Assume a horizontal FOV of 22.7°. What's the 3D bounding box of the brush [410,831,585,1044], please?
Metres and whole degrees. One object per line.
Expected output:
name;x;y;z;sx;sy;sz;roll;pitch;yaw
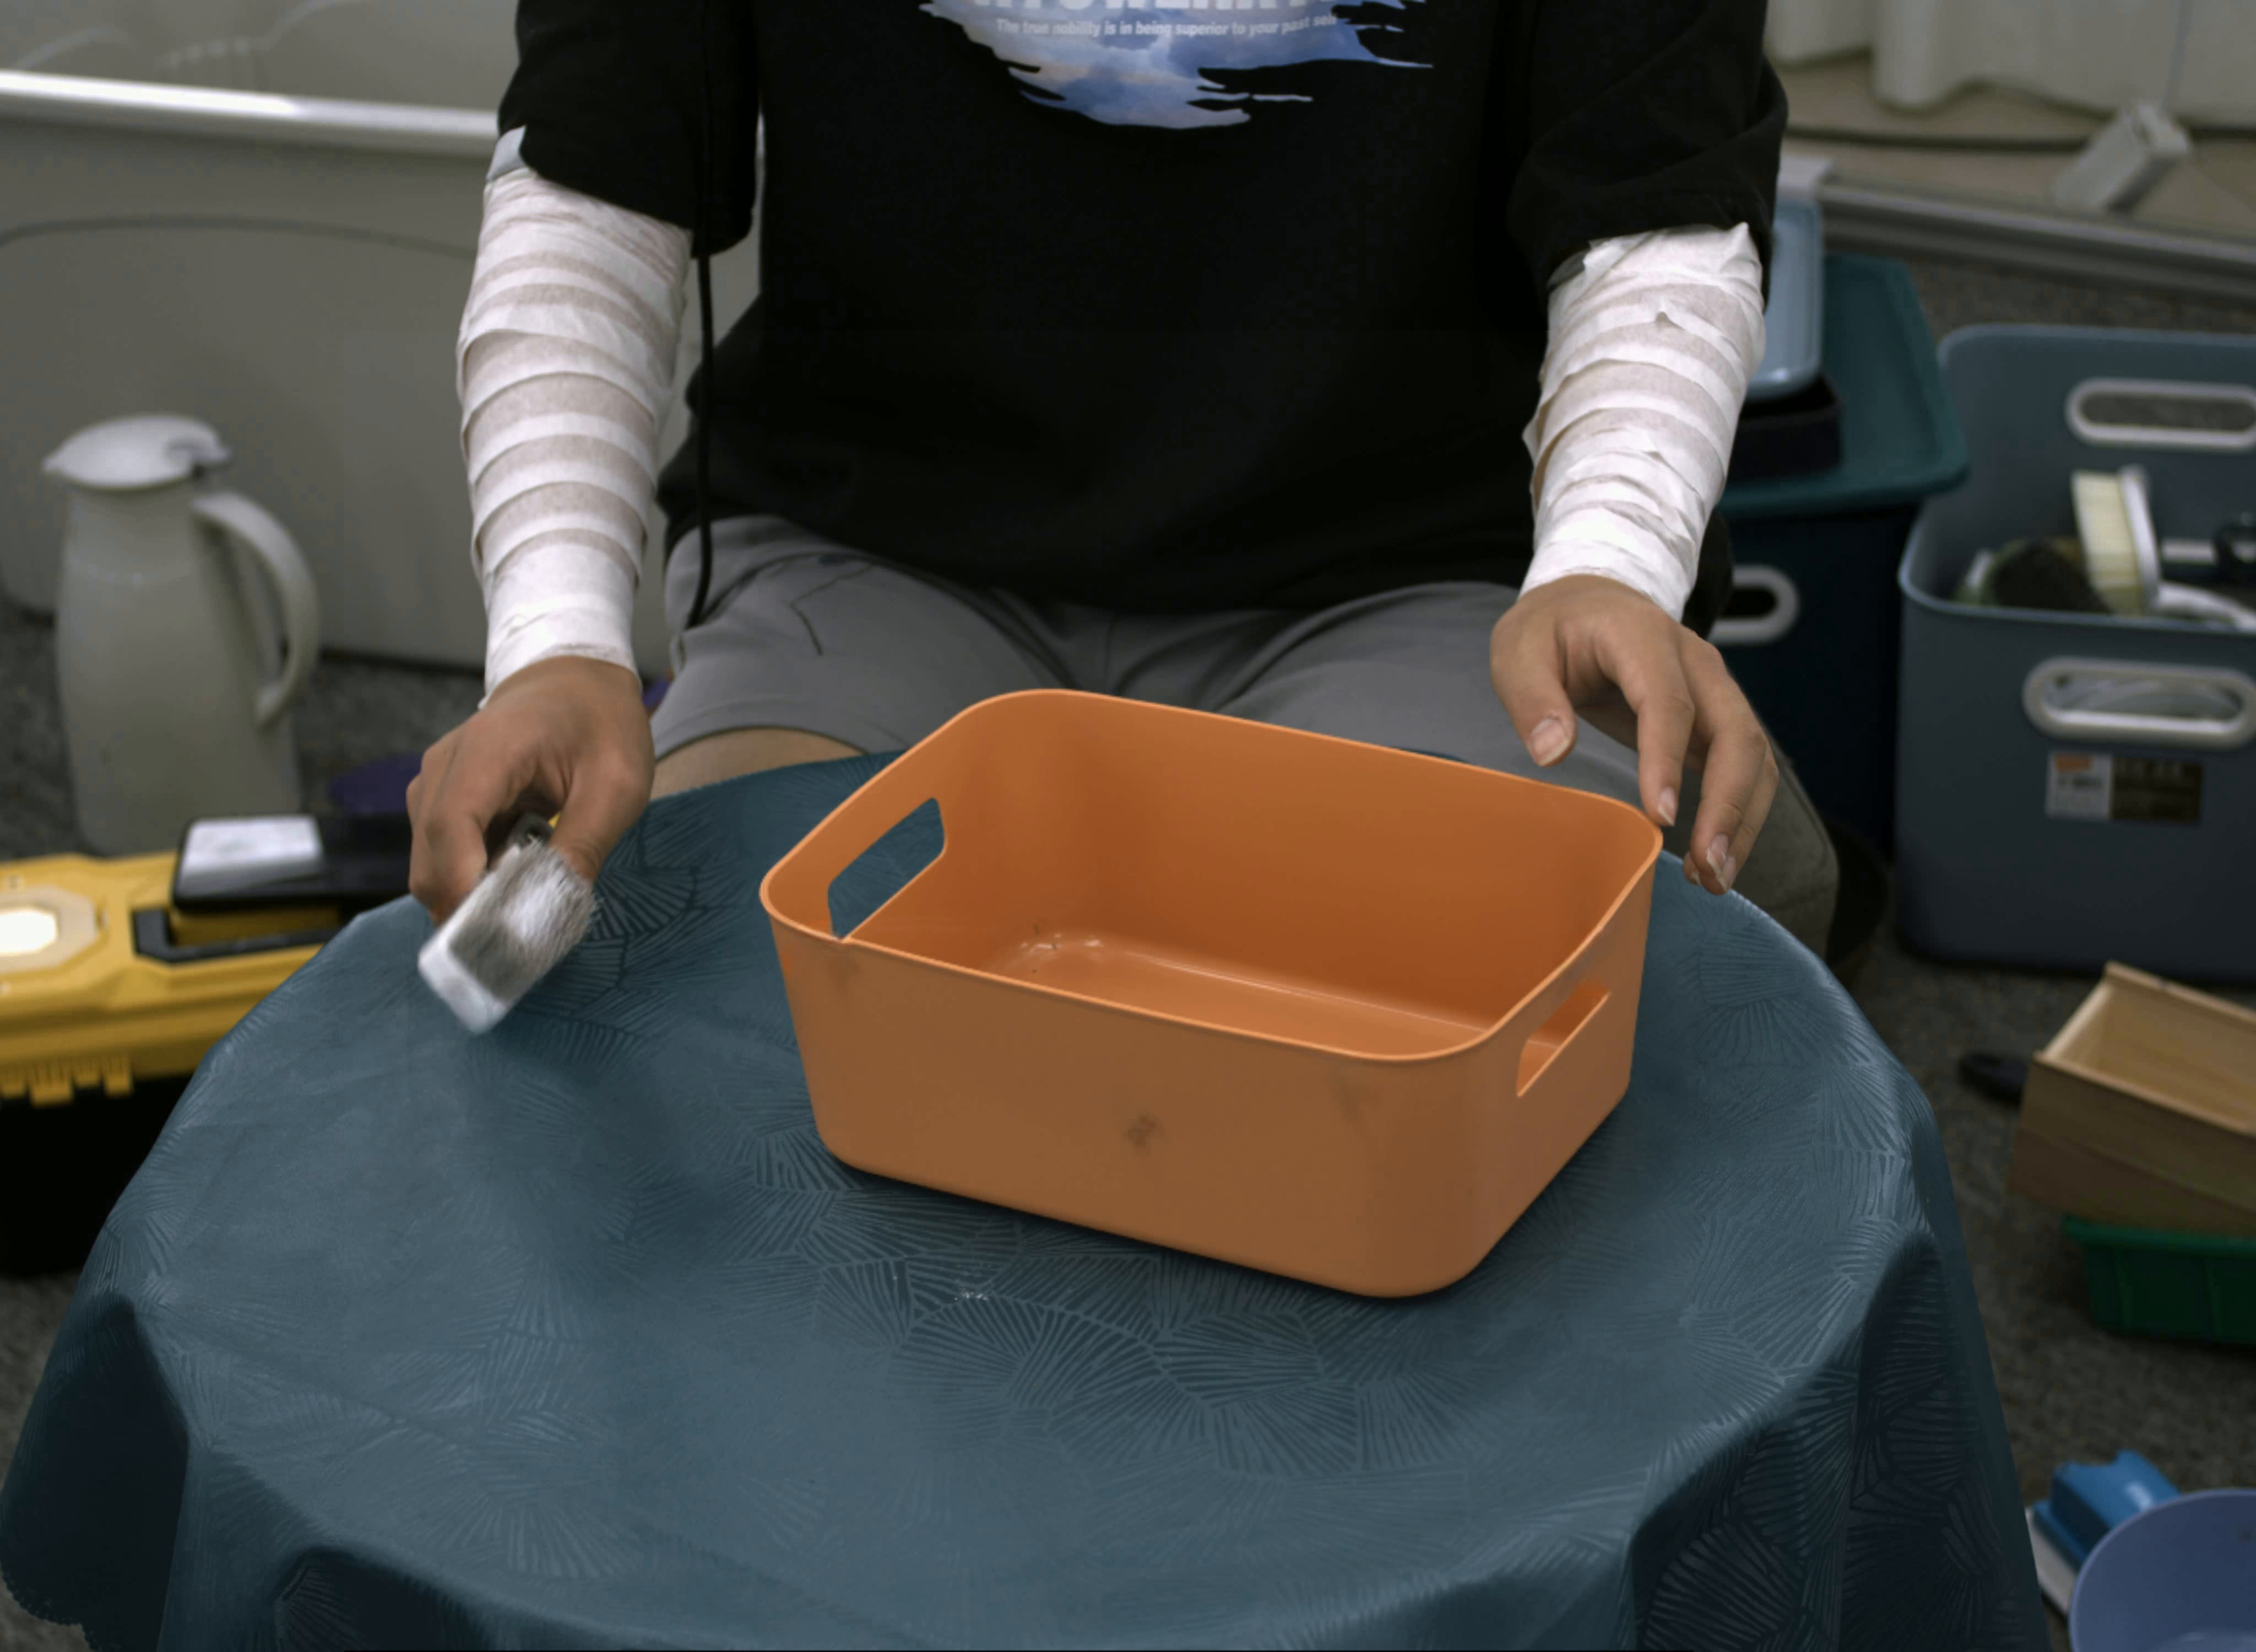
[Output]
brush;-0.202;0.022;1.934;0.034;0.050;0.245;40;12;-5

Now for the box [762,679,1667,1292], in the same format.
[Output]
box;0.032;0.052;1.878;0.271;0.101;0.203;12;31;26
